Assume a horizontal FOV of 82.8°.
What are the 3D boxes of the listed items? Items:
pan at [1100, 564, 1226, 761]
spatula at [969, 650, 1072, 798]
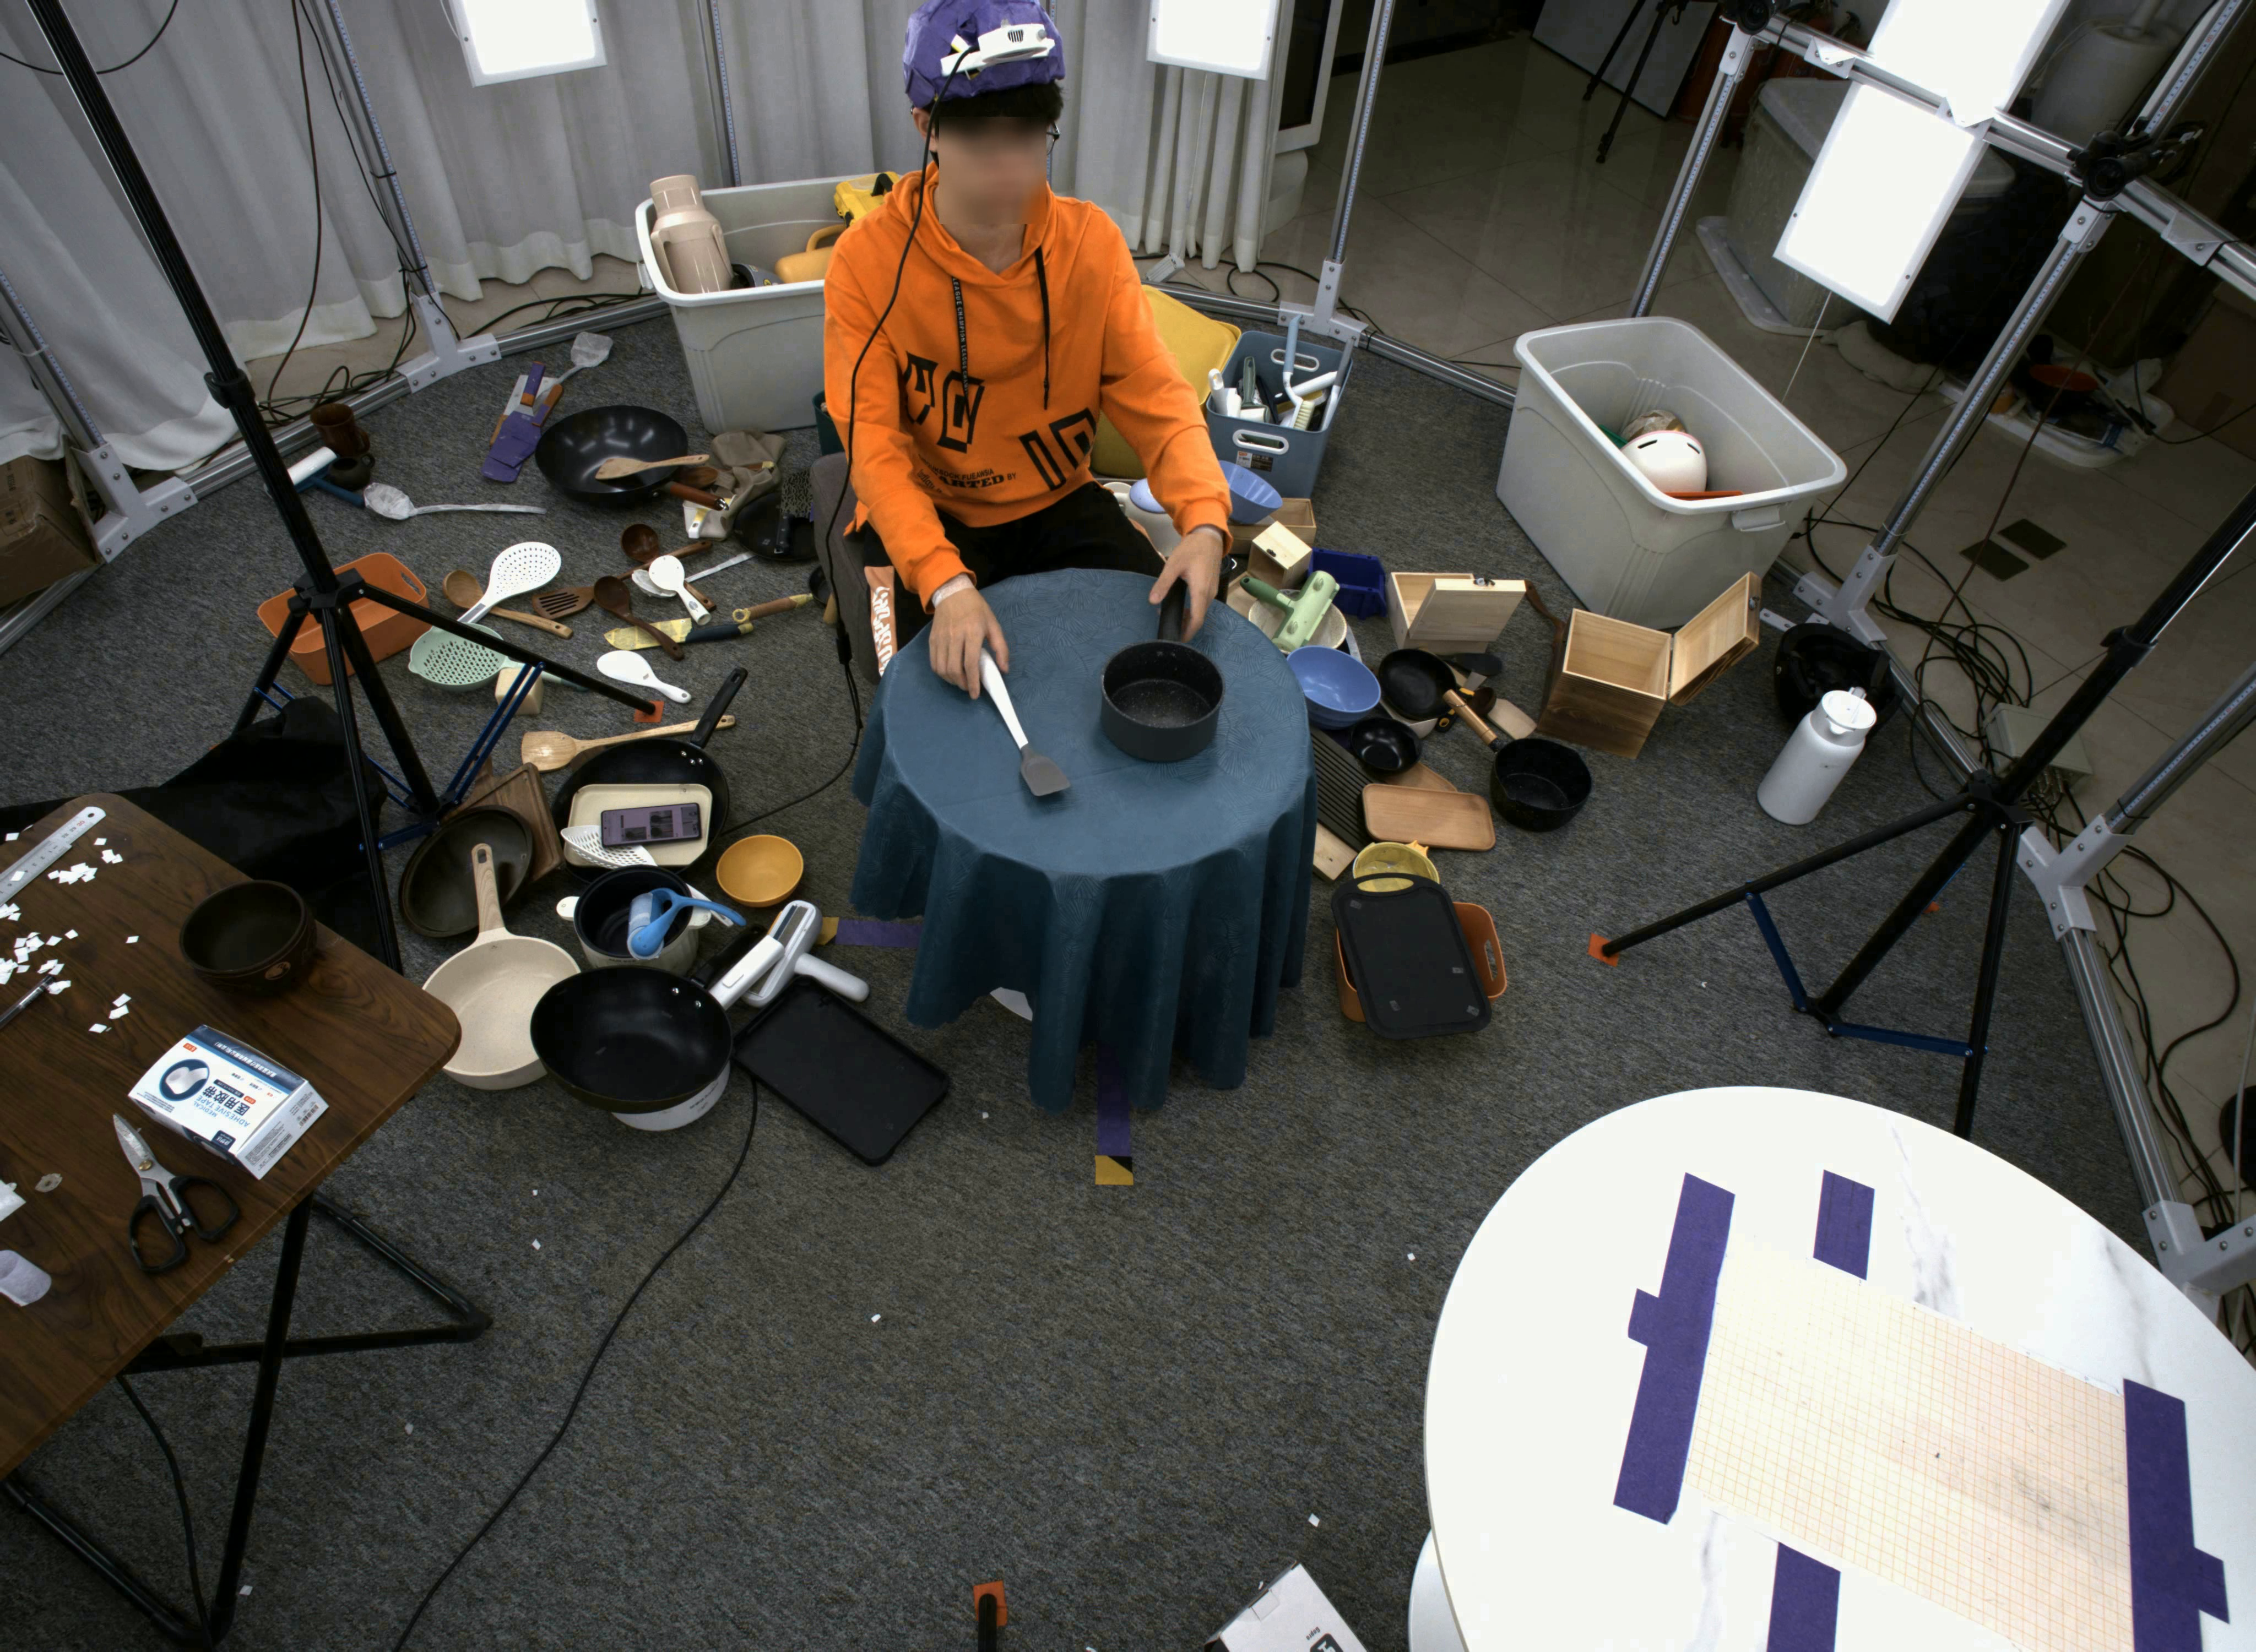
[{"bbox_3d":[0.057,-0.235,1.822,0.172,0.084,0.336,9,51,3],"label":"pan"},{"bbox_3d":[-0.154,-0.138,1.758,0.059,0.031,0.294,-13,51,-21],"label":"spatula"}]
